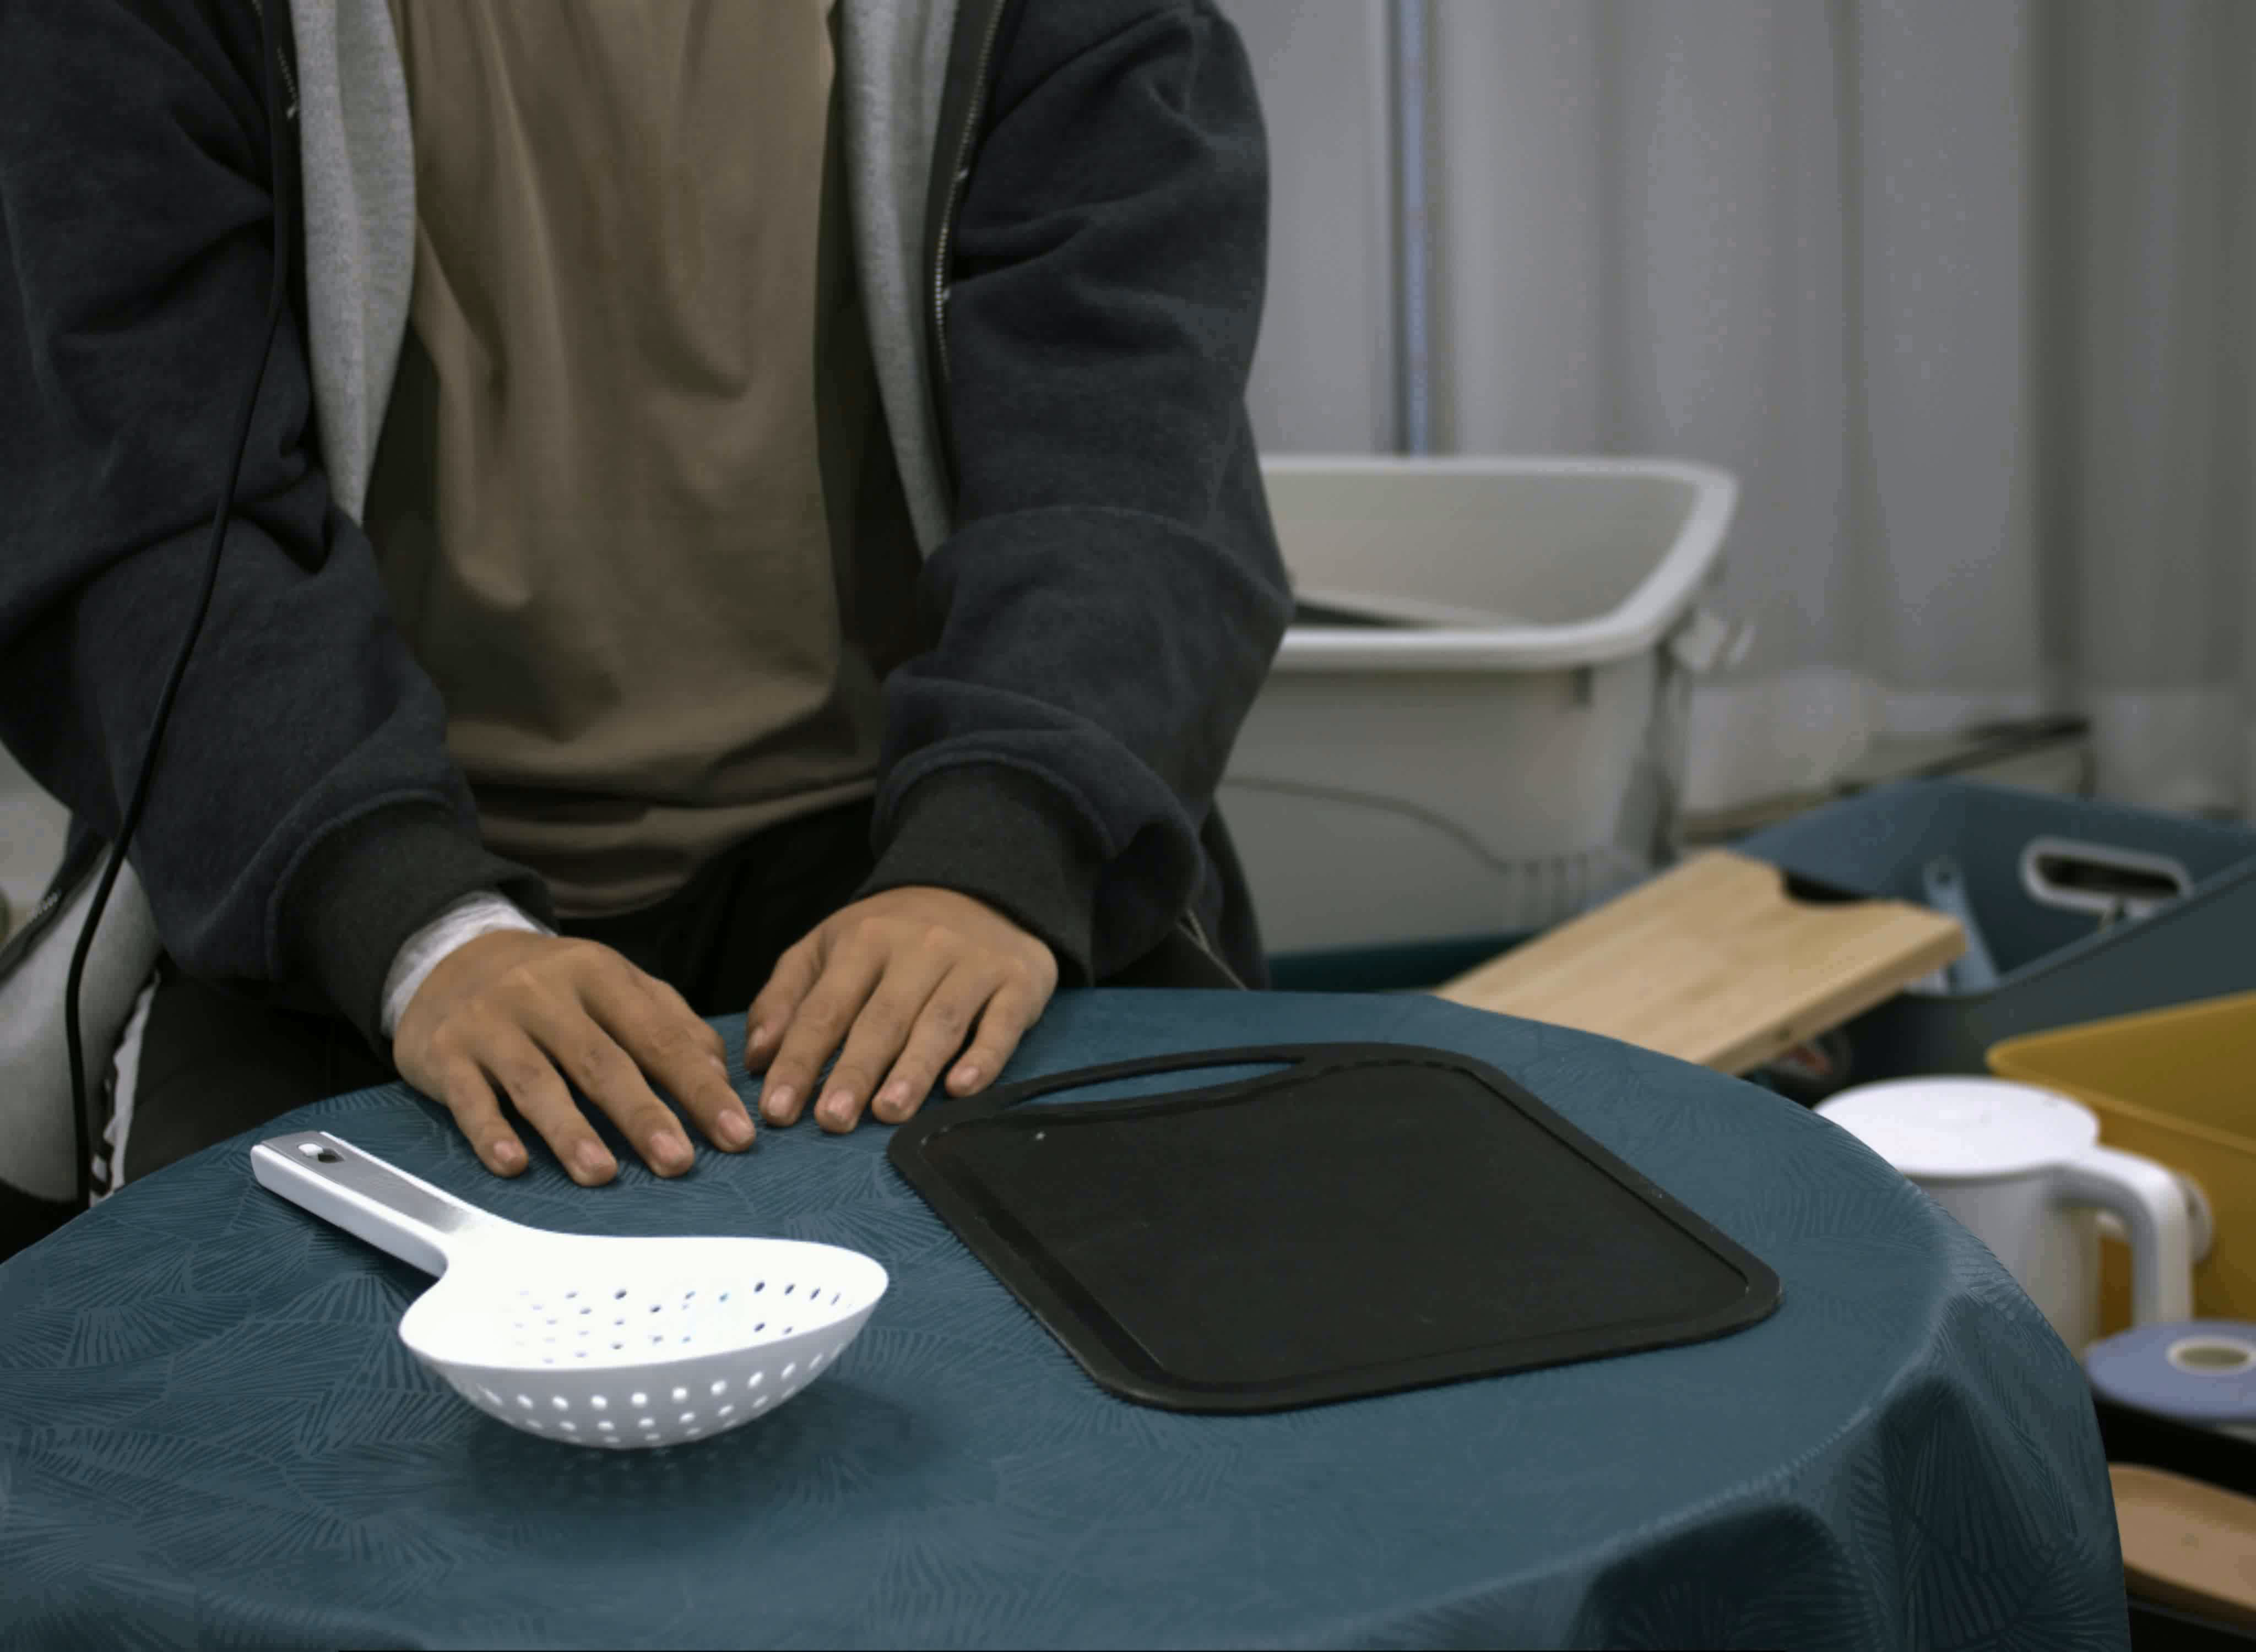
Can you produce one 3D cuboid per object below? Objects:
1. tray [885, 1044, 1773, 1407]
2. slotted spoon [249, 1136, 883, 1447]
[{"bbox_3d":[0.051,0.116,1.689,0.210,0.010,0.328,-7,15,-16],"label":"tray"},{"bbox_3d":[-0.188,0.128,1.616,0.135,0.045,0.352,-9,15,-28],"label":"slotted spoon"}]
